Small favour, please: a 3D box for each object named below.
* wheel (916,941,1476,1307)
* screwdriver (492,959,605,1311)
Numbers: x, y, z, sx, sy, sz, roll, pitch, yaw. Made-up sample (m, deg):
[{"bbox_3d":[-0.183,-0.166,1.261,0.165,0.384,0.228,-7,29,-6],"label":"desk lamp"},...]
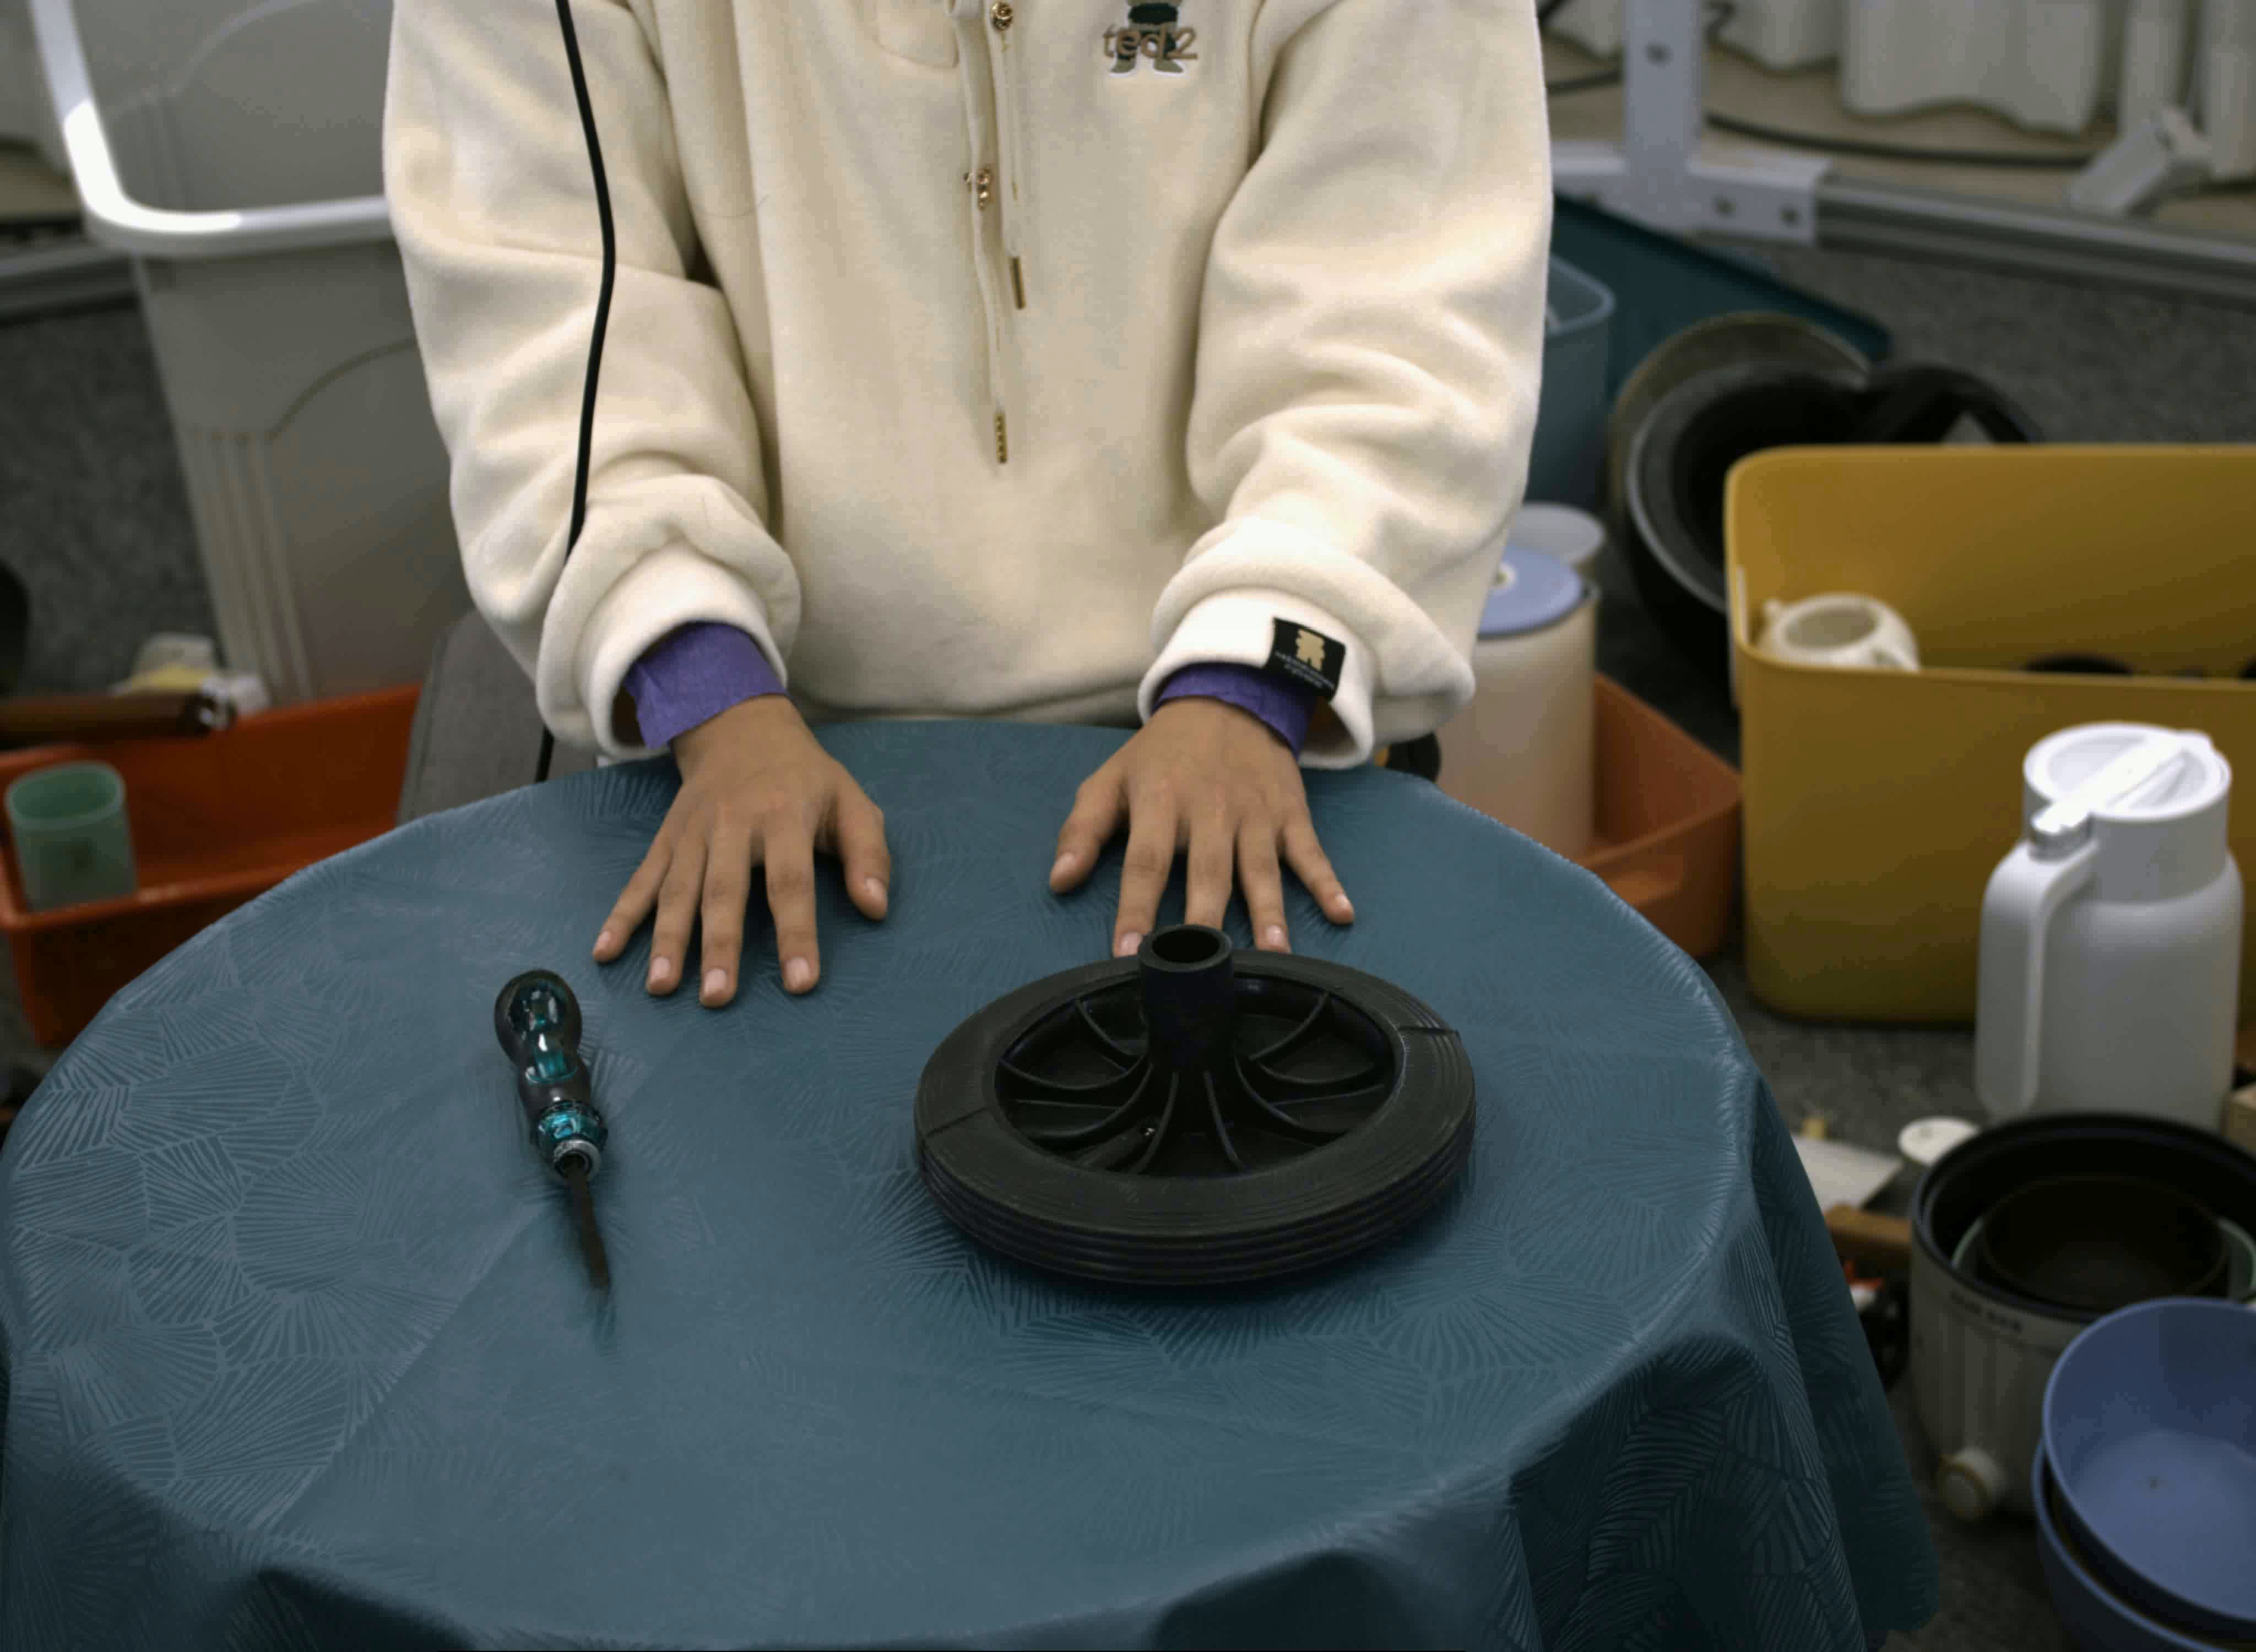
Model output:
[{"bbox_3d":[0.020,0.080,1.859,0.186,0.078,0.193,6,31,18],"label":"wheel"},{"bbox_3d":[-0.190,0.106,1.888,0.033,0.033,0.192,-7,33,-9],"label":"screwdriver"}]
